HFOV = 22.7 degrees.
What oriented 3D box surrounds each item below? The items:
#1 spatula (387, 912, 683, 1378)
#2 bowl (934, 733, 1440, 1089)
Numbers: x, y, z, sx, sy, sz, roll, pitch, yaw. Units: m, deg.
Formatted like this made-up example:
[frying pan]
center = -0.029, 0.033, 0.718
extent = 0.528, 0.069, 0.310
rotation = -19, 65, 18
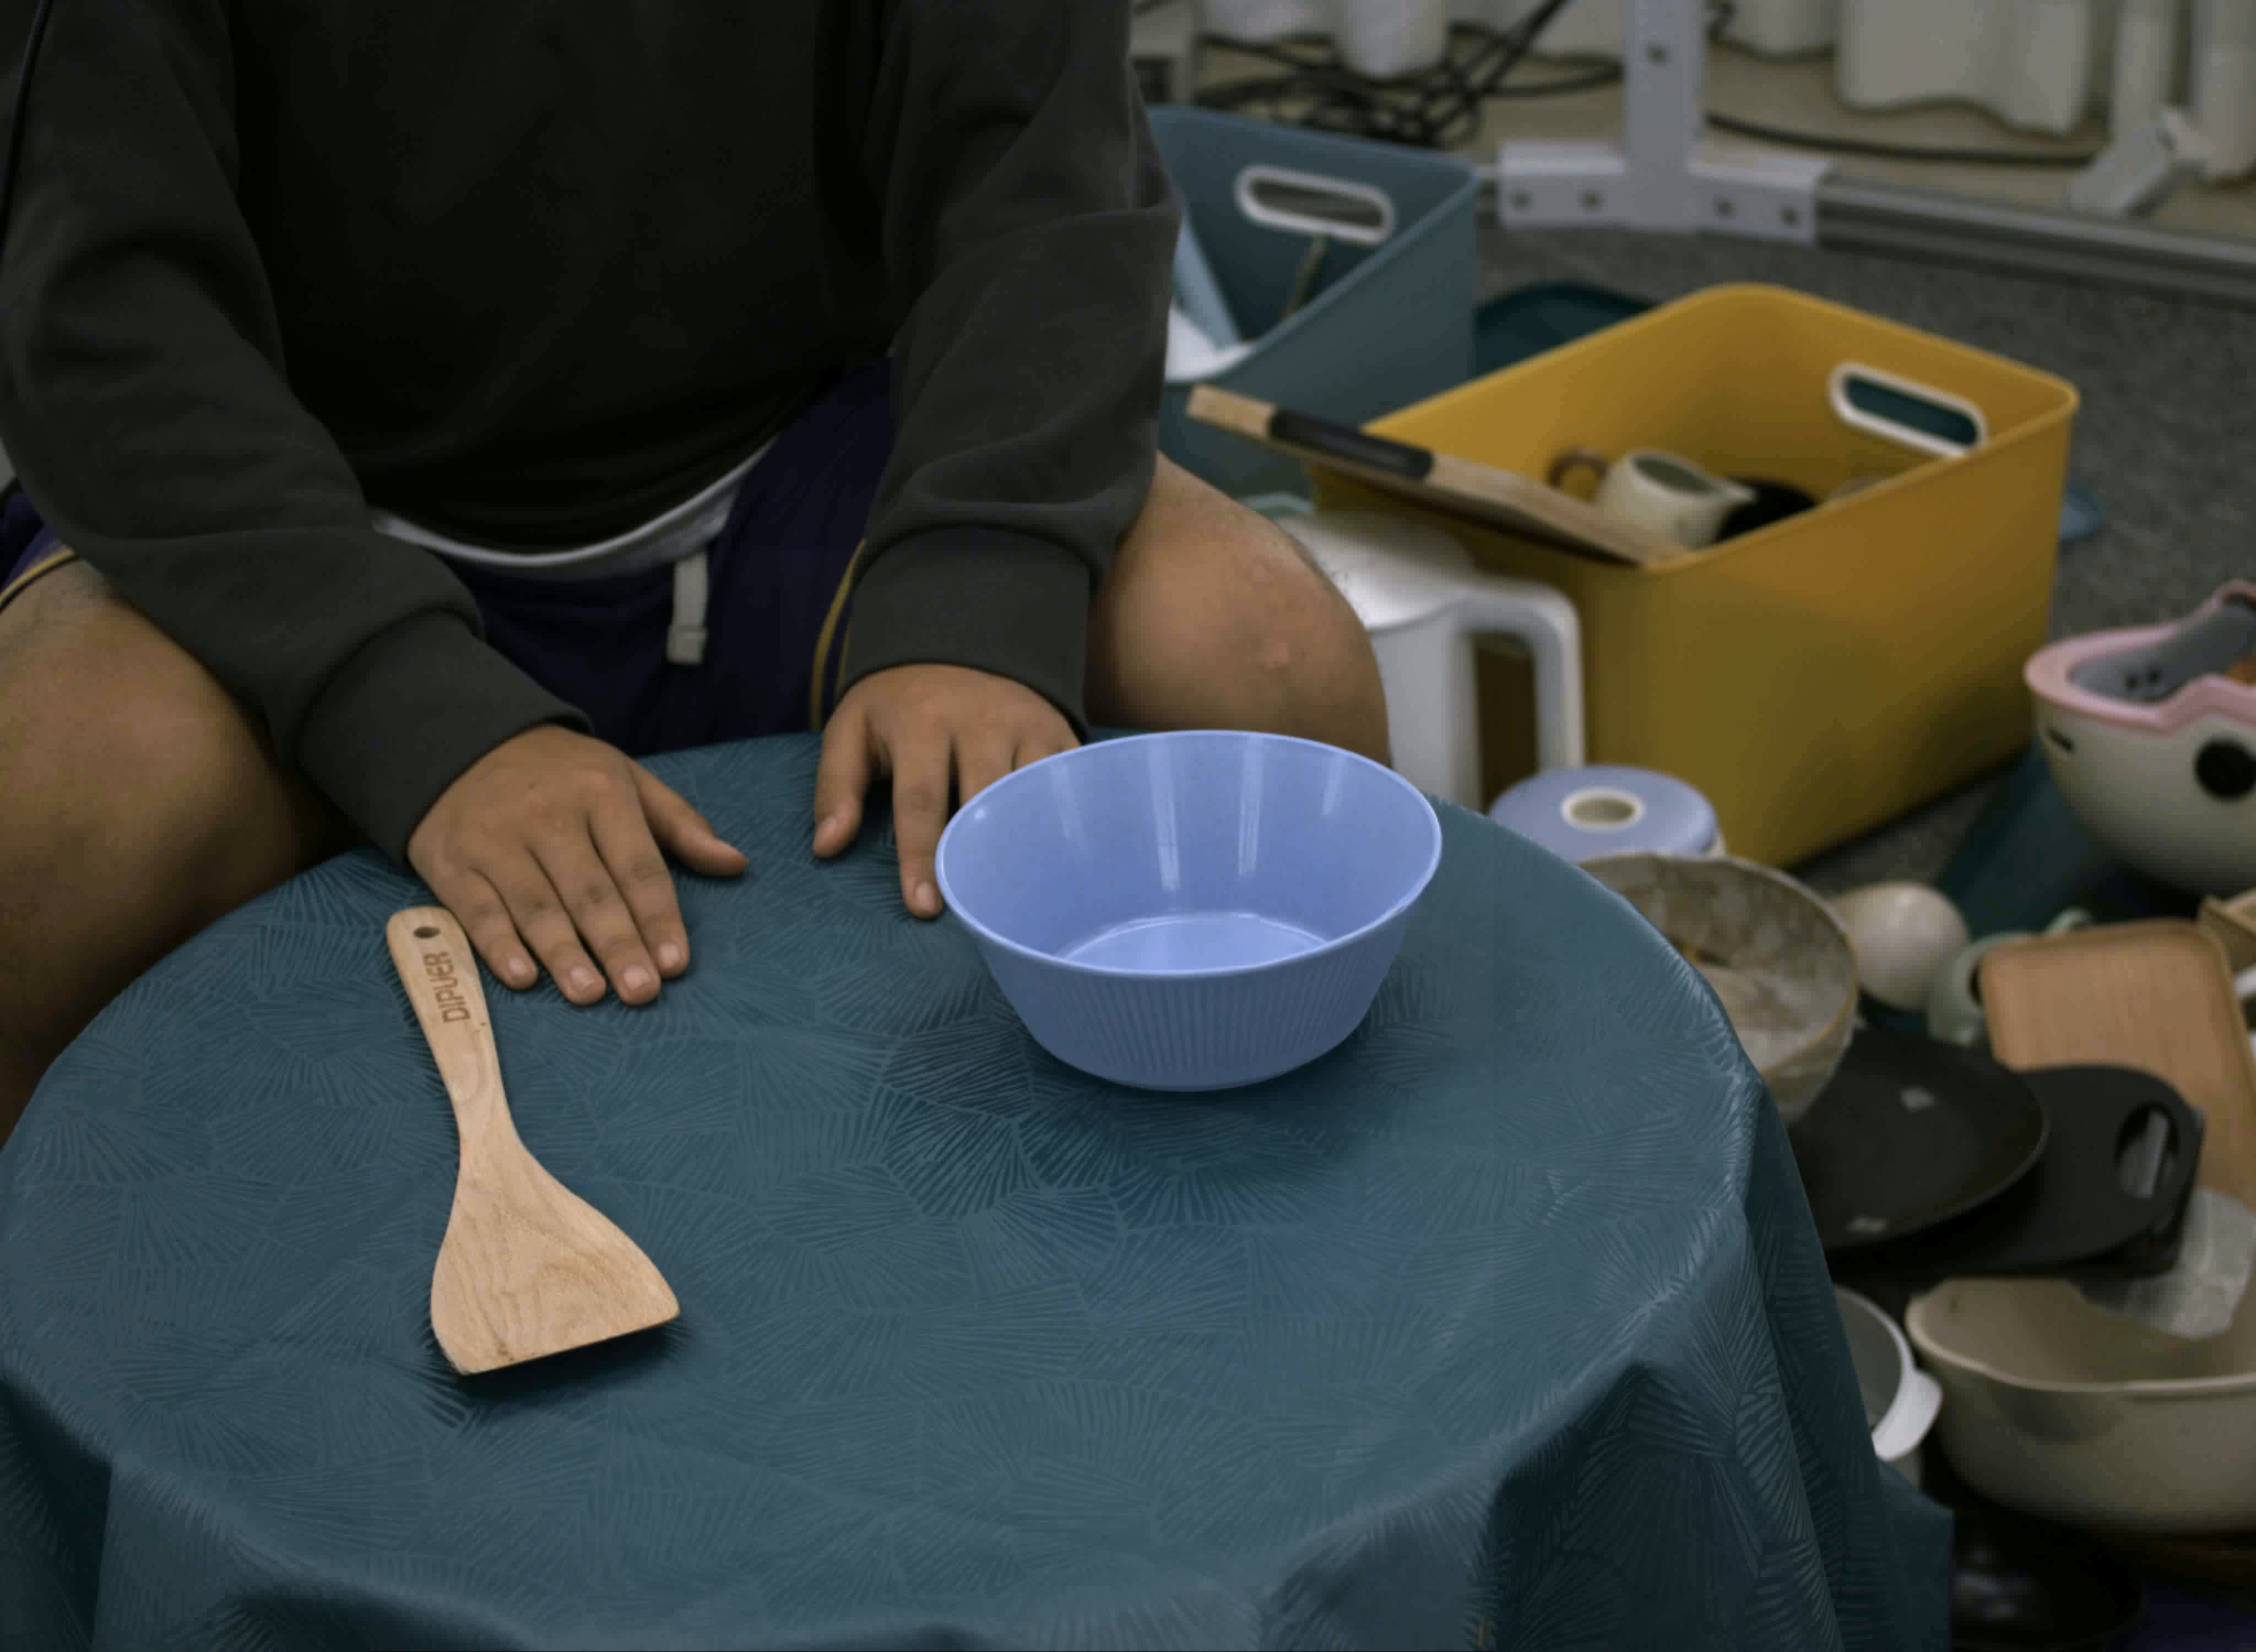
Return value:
[spatula]
center = -0.216, 0.102, 1.905
extent = 0.080, 0.016, 0.331
rotation = -10, 28, -12
[bowl]
center = 0.022, 0.035, 1.952
extent = 0.175, 0.069, 0.179
rotation = -2, 27, 2
